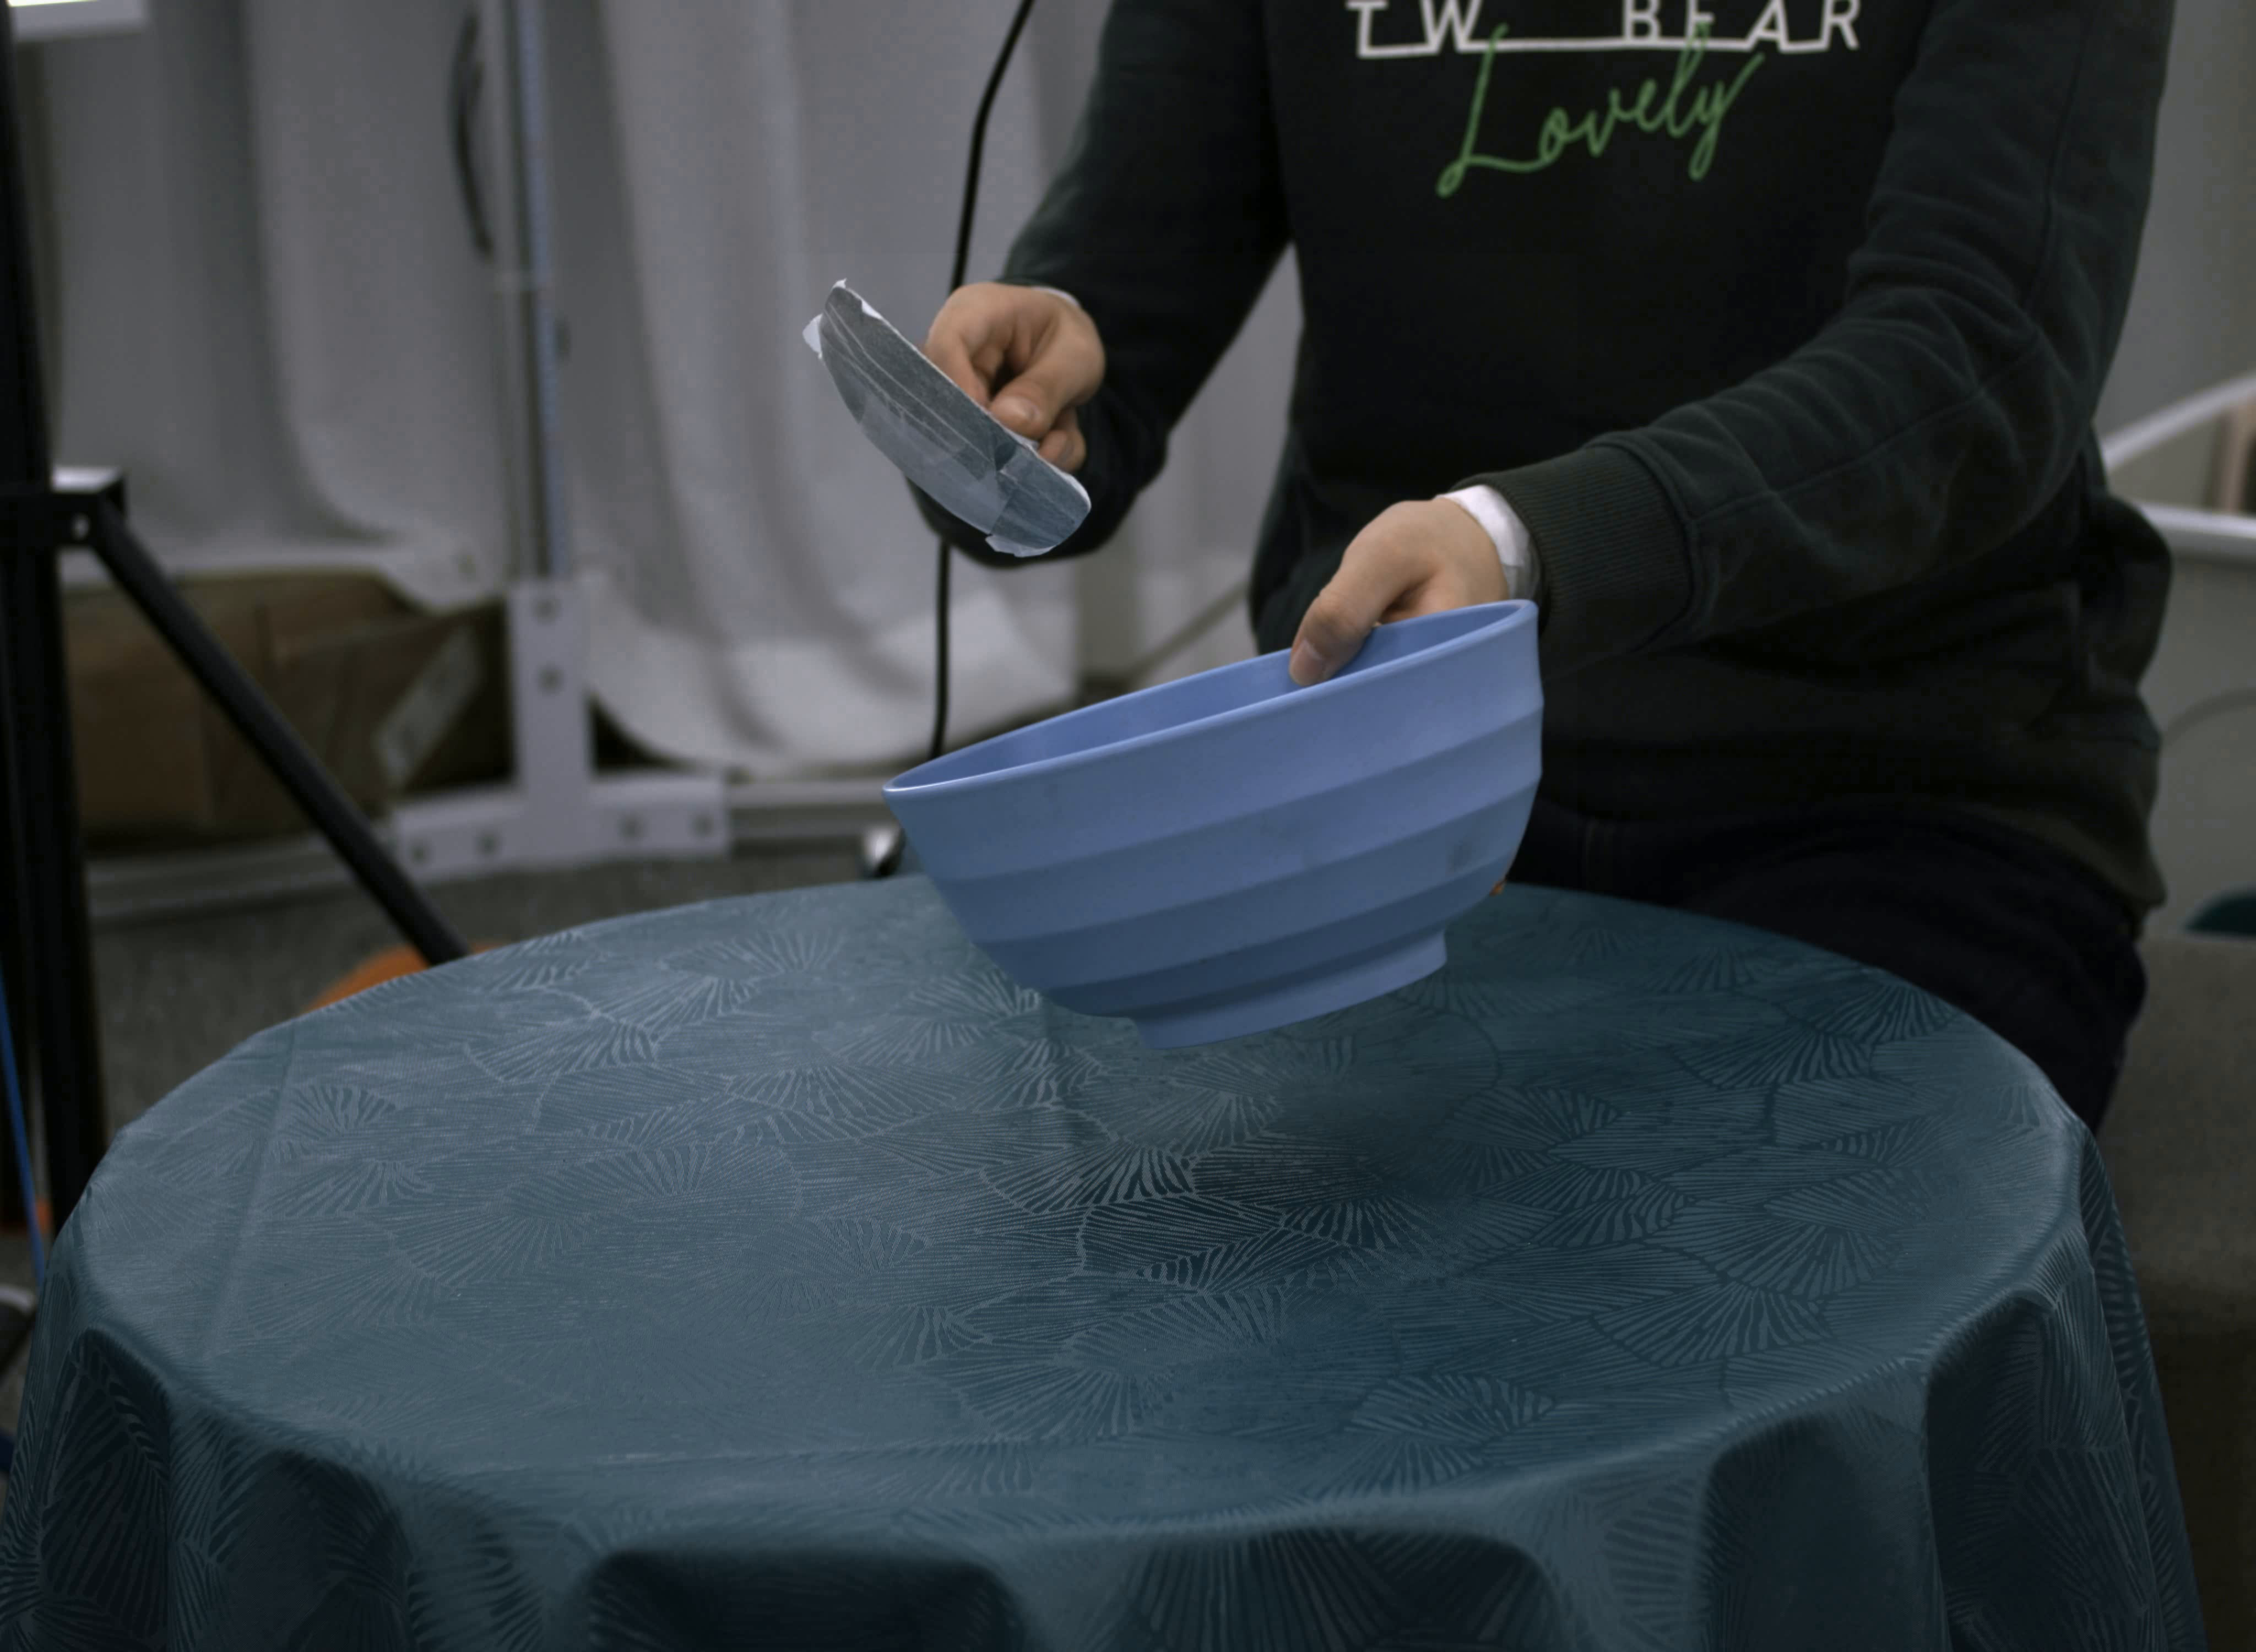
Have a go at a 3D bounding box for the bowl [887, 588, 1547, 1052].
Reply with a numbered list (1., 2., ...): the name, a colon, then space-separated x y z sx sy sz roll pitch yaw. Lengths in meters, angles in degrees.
1. bowl: 0.037 0.006 1.528 0.196 0.095 0.197 -17 5 0

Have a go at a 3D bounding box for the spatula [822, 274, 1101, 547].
1. spatula: -0.040 -0.123 1.672 0.099 0.045 0.363 39 7 2
